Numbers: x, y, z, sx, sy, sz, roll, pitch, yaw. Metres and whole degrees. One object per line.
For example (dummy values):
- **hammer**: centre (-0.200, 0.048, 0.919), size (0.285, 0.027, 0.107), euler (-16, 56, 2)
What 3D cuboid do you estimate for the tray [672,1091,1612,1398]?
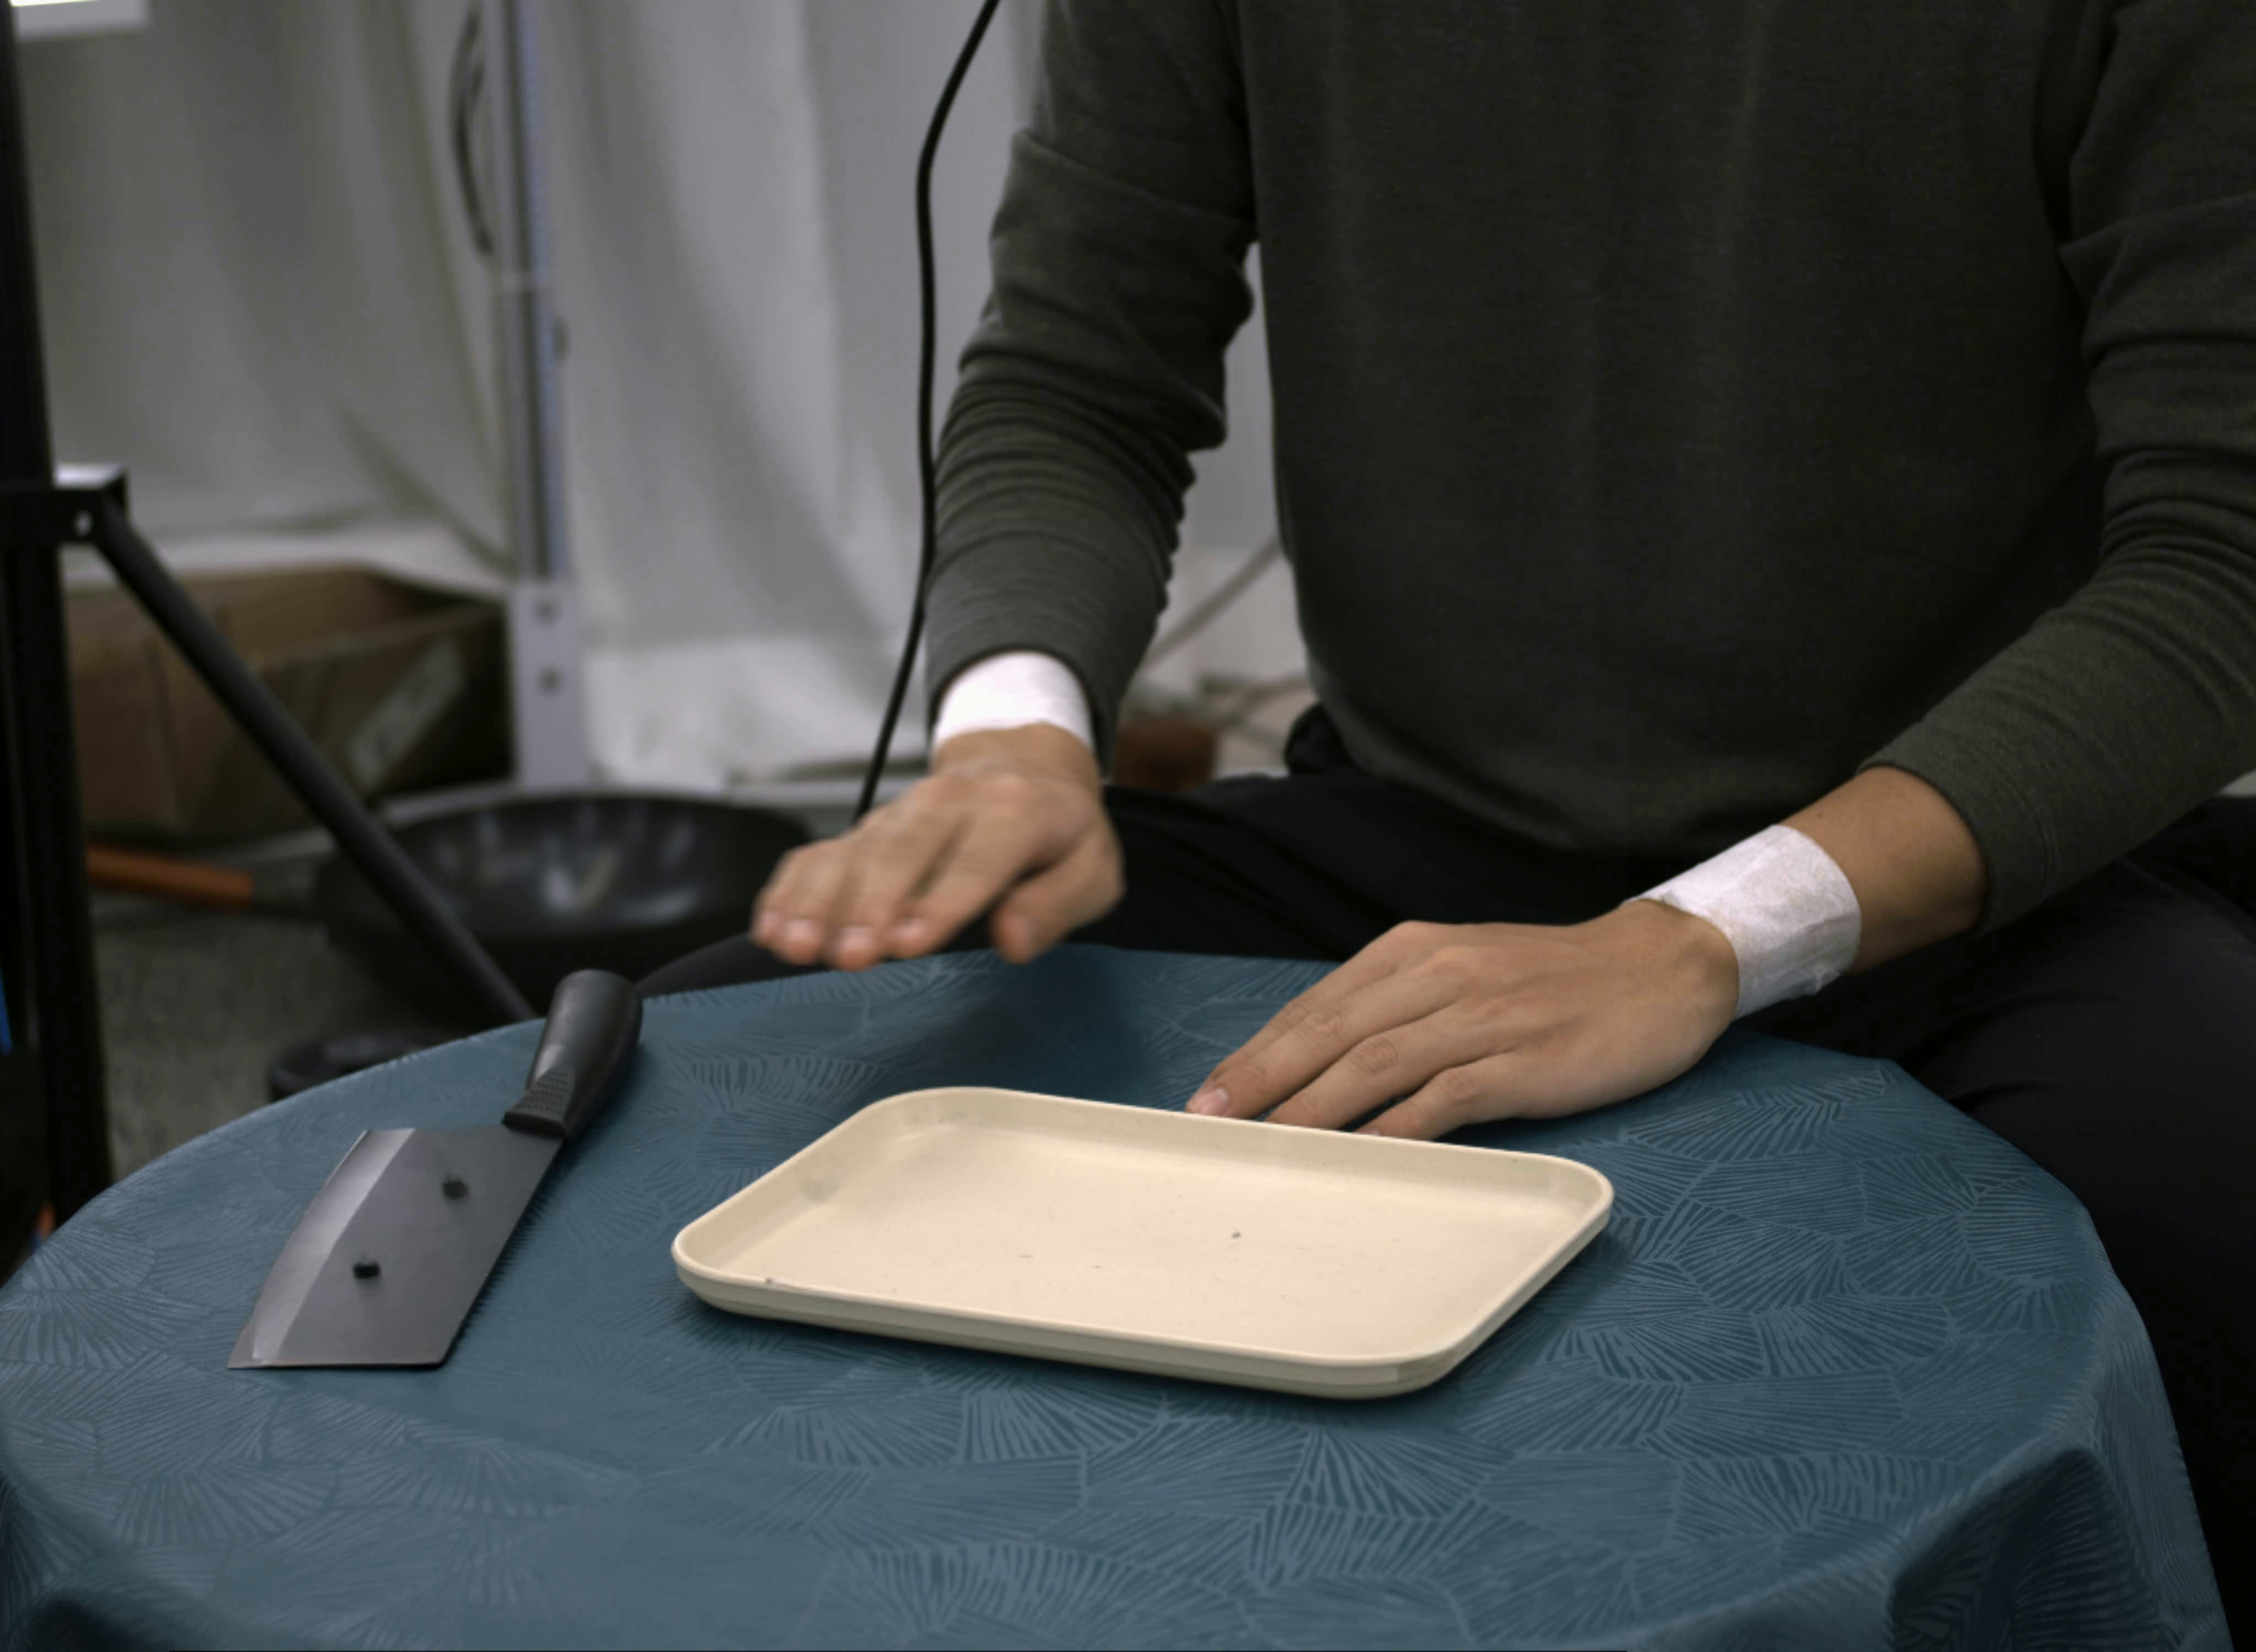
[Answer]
- **tray**: centre (0.005, 0.117, 1.497), size (0.243, 0.017, 0.168), euler (5, 17, 26)

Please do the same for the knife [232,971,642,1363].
- **knife**: centre (-0.199, 0.101, 1.594), size (0.081, 0.021, 0.301), euler (0, 18, 11)
